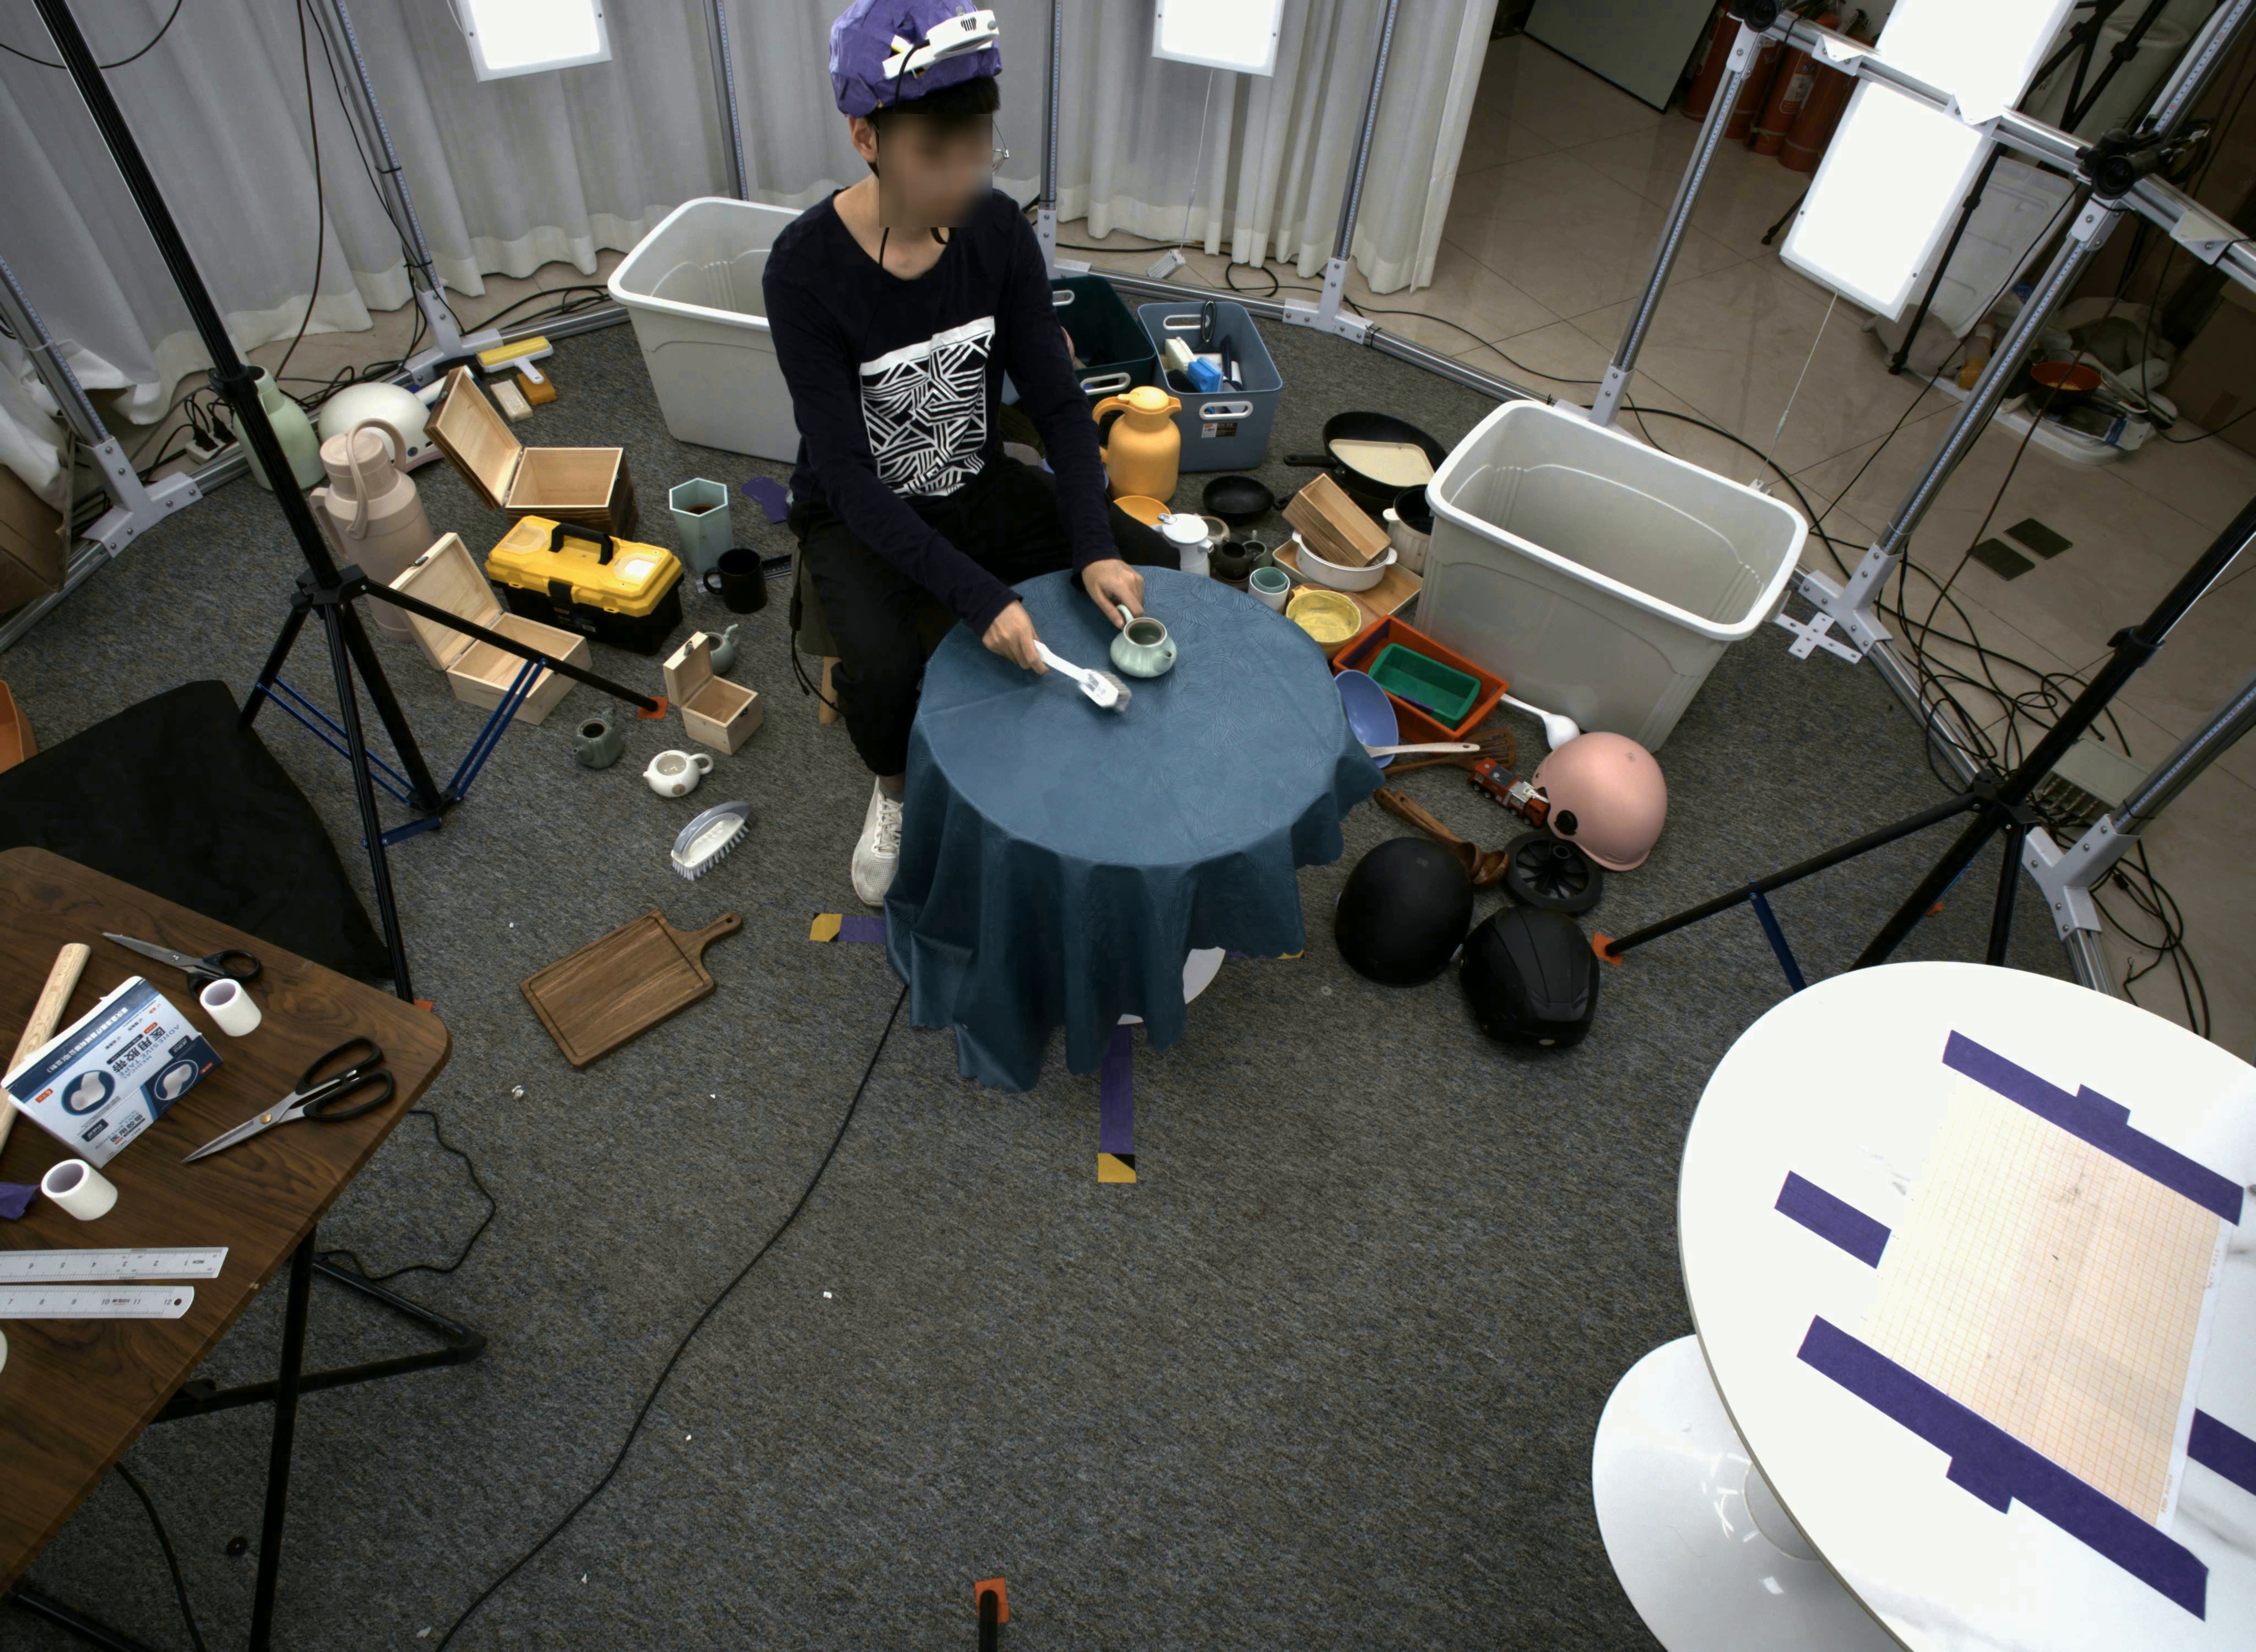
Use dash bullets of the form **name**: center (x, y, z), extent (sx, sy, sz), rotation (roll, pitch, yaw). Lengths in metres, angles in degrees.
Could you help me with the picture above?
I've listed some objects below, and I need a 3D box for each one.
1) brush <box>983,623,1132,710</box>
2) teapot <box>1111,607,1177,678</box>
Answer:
- **brush**: center (-0.100, -0.233, 1.826), extent (0.246, 0.034, 0.050), rotation (31, 32, 21)
- **teapot**: center (0.021, -0.264, 1.860), extent (0.097, 0.060, 0.139), rotation (-29, 57, -23)
